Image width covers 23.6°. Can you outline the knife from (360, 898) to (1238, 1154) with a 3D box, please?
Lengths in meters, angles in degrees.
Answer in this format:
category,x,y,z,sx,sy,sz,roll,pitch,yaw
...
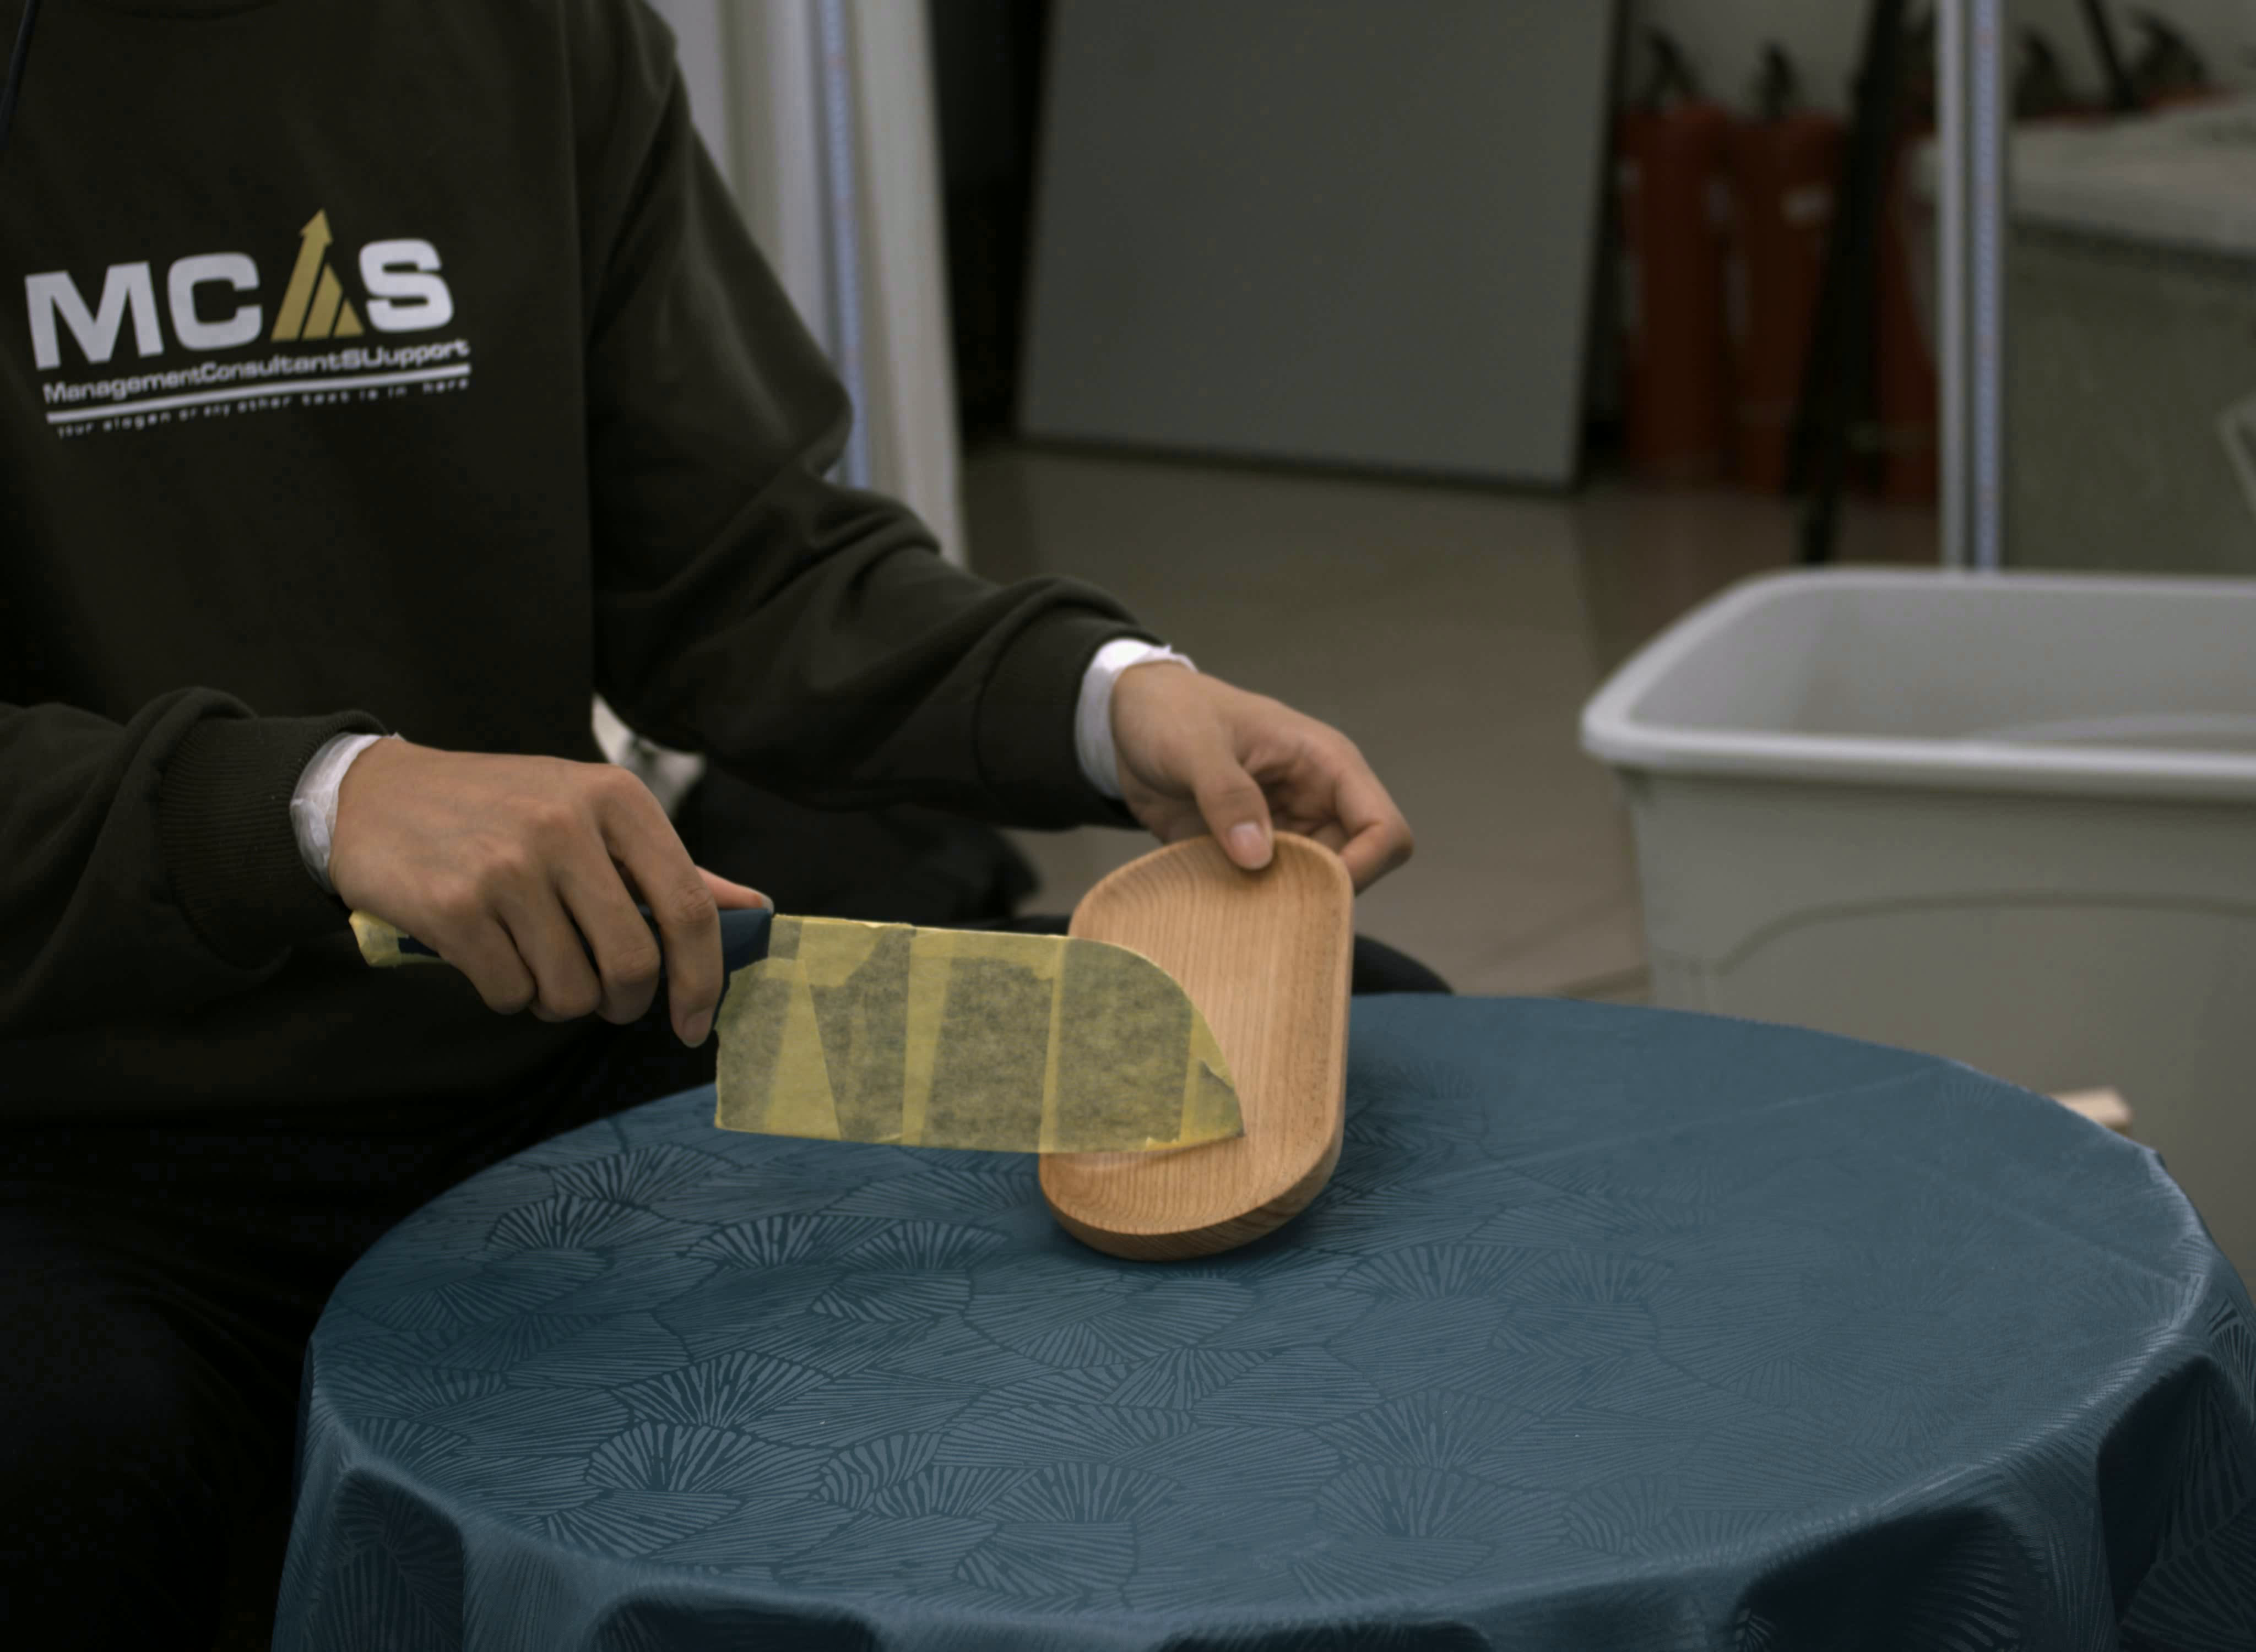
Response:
category,x,y,z,sx,sy,sz,roll,pitch,yaw
knife,-0.105,0.063,1.736,0.286,0.082,0.027,7,5,2

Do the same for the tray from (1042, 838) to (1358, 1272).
category,x,y,z,sx,sy,sz,roll,pitch,yaw
tray,0.026,0.073,1.785,0.101,0.020,0.232,-12,32,11
